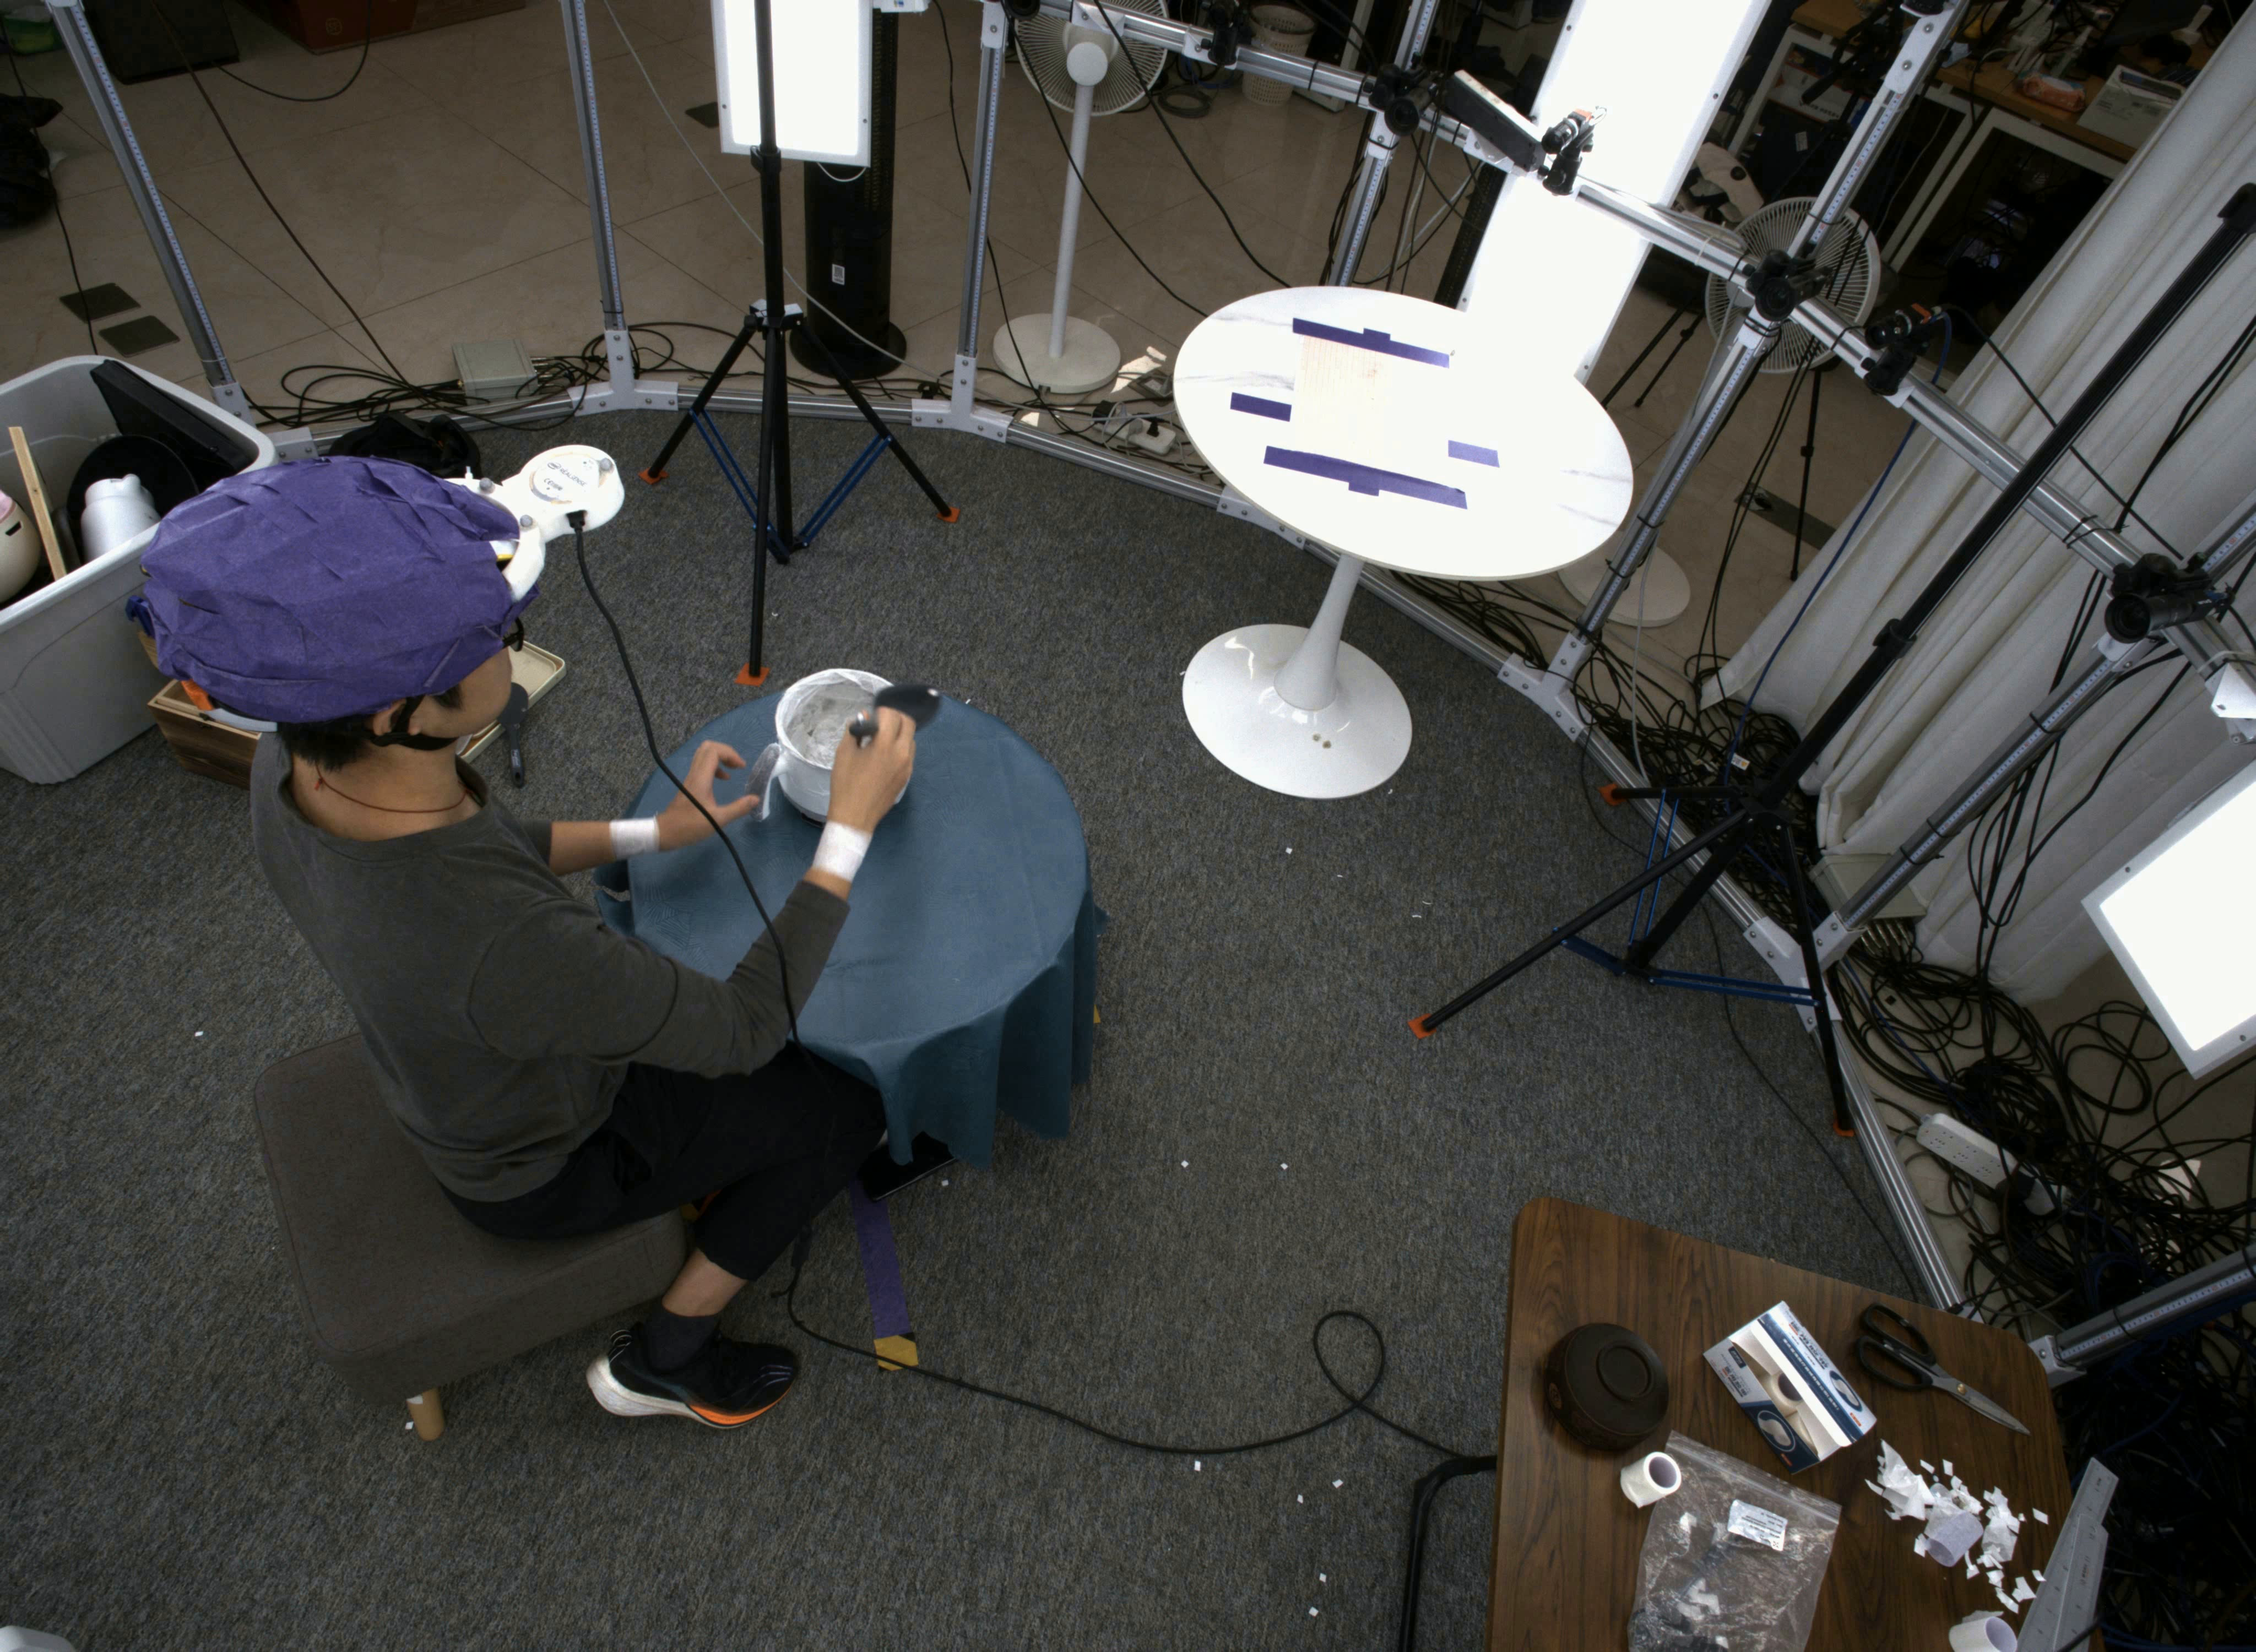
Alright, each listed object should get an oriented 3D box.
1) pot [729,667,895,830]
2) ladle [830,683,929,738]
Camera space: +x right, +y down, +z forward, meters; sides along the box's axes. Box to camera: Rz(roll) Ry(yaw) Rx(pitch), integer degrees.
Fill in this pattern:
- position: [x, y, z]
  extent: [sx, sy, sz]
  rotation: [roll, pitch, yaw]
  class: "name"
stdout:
- position: [-0.420, -0.089, 1.714]
  extent: [0.234, 0.139, 0.174]
  rotation: [-31, 65, -31]
  class: "pot"
- position: [-0.294, -0.134, 1.476]
  extent: [0.085, 0.312, 0.065]
  rotation: [-6, 95, 3]
  class: "ladle"
